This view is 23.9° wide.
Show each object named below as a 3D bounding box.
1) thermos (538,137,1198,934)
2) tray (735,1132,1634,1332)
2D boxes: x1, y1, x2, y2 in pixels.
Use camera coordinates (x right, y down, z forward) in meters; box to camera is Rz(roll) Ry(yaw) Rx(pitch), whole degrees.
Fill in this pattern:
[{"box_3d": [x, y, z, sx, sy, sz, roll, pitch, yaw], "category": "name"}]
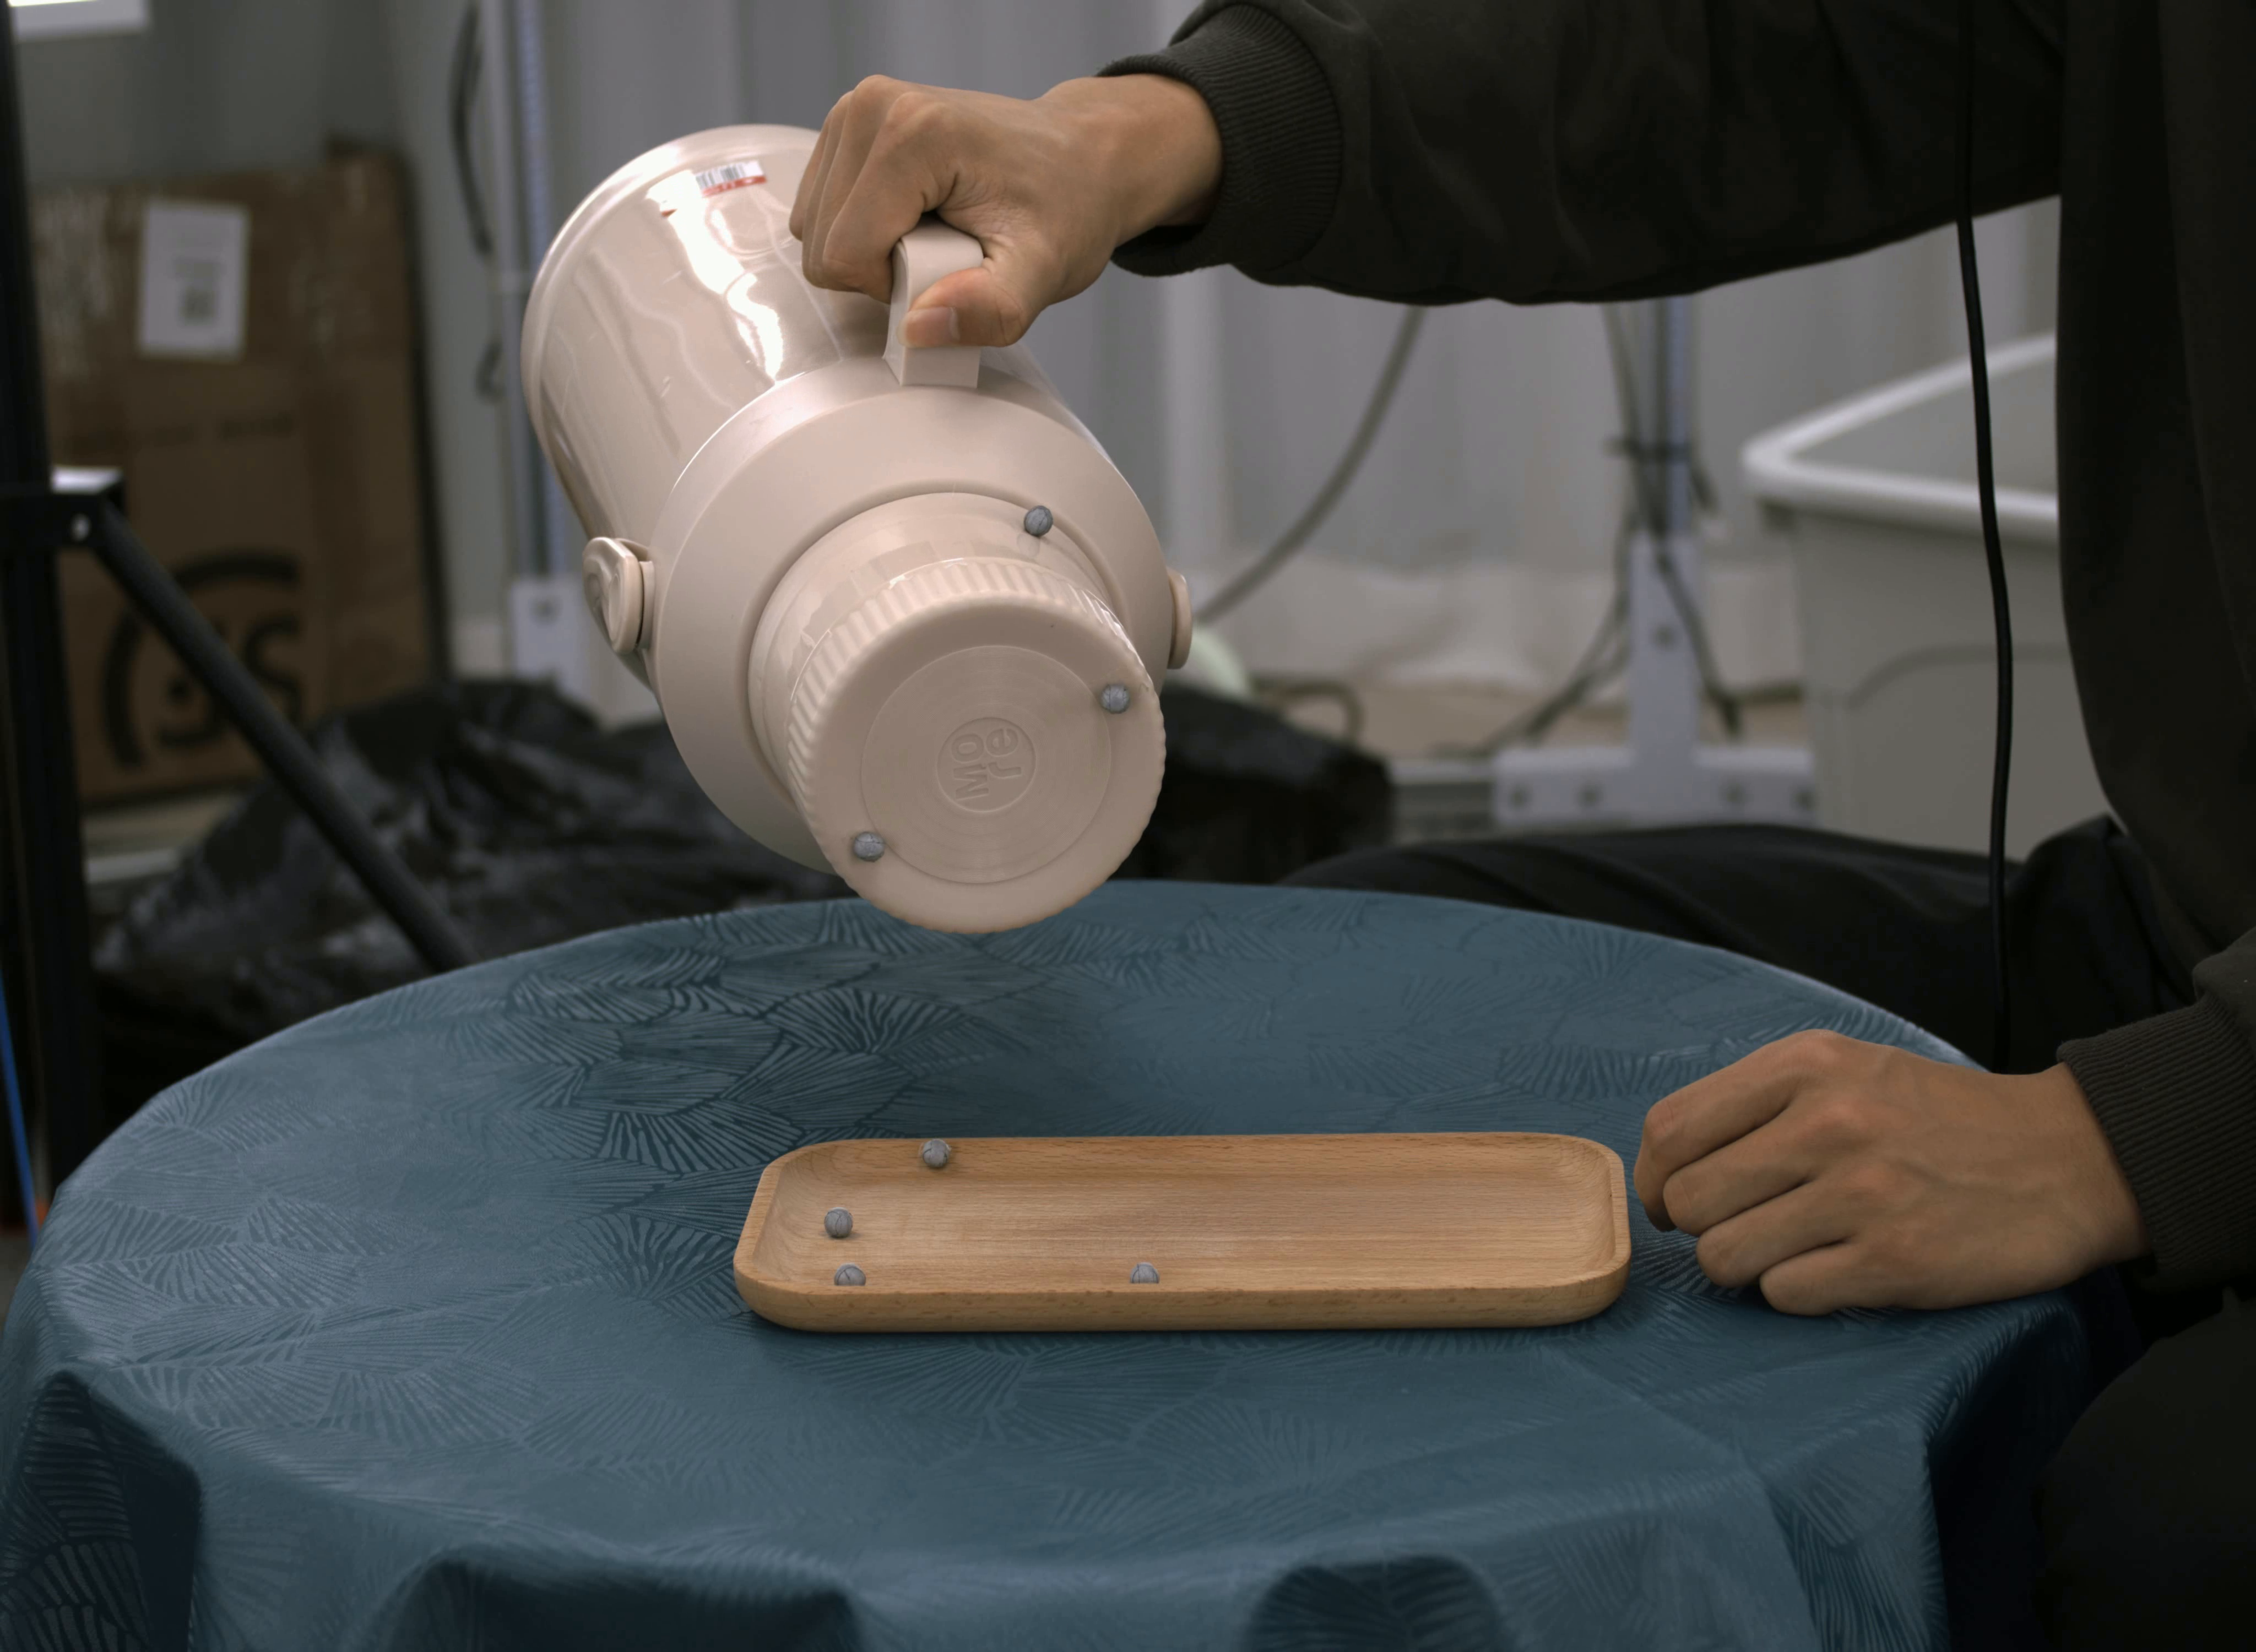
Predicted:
[{"box_3d": [-0.080, -0.104, 1.666, 0.173, 0.207, 0.412, 1, 21, -13], "category": "thermos"}, {"box_3d": [0.017, 0.115, 1.503, 0.251, 0.023, 0.130, 0, 18, 6], "category": "tray"}]
